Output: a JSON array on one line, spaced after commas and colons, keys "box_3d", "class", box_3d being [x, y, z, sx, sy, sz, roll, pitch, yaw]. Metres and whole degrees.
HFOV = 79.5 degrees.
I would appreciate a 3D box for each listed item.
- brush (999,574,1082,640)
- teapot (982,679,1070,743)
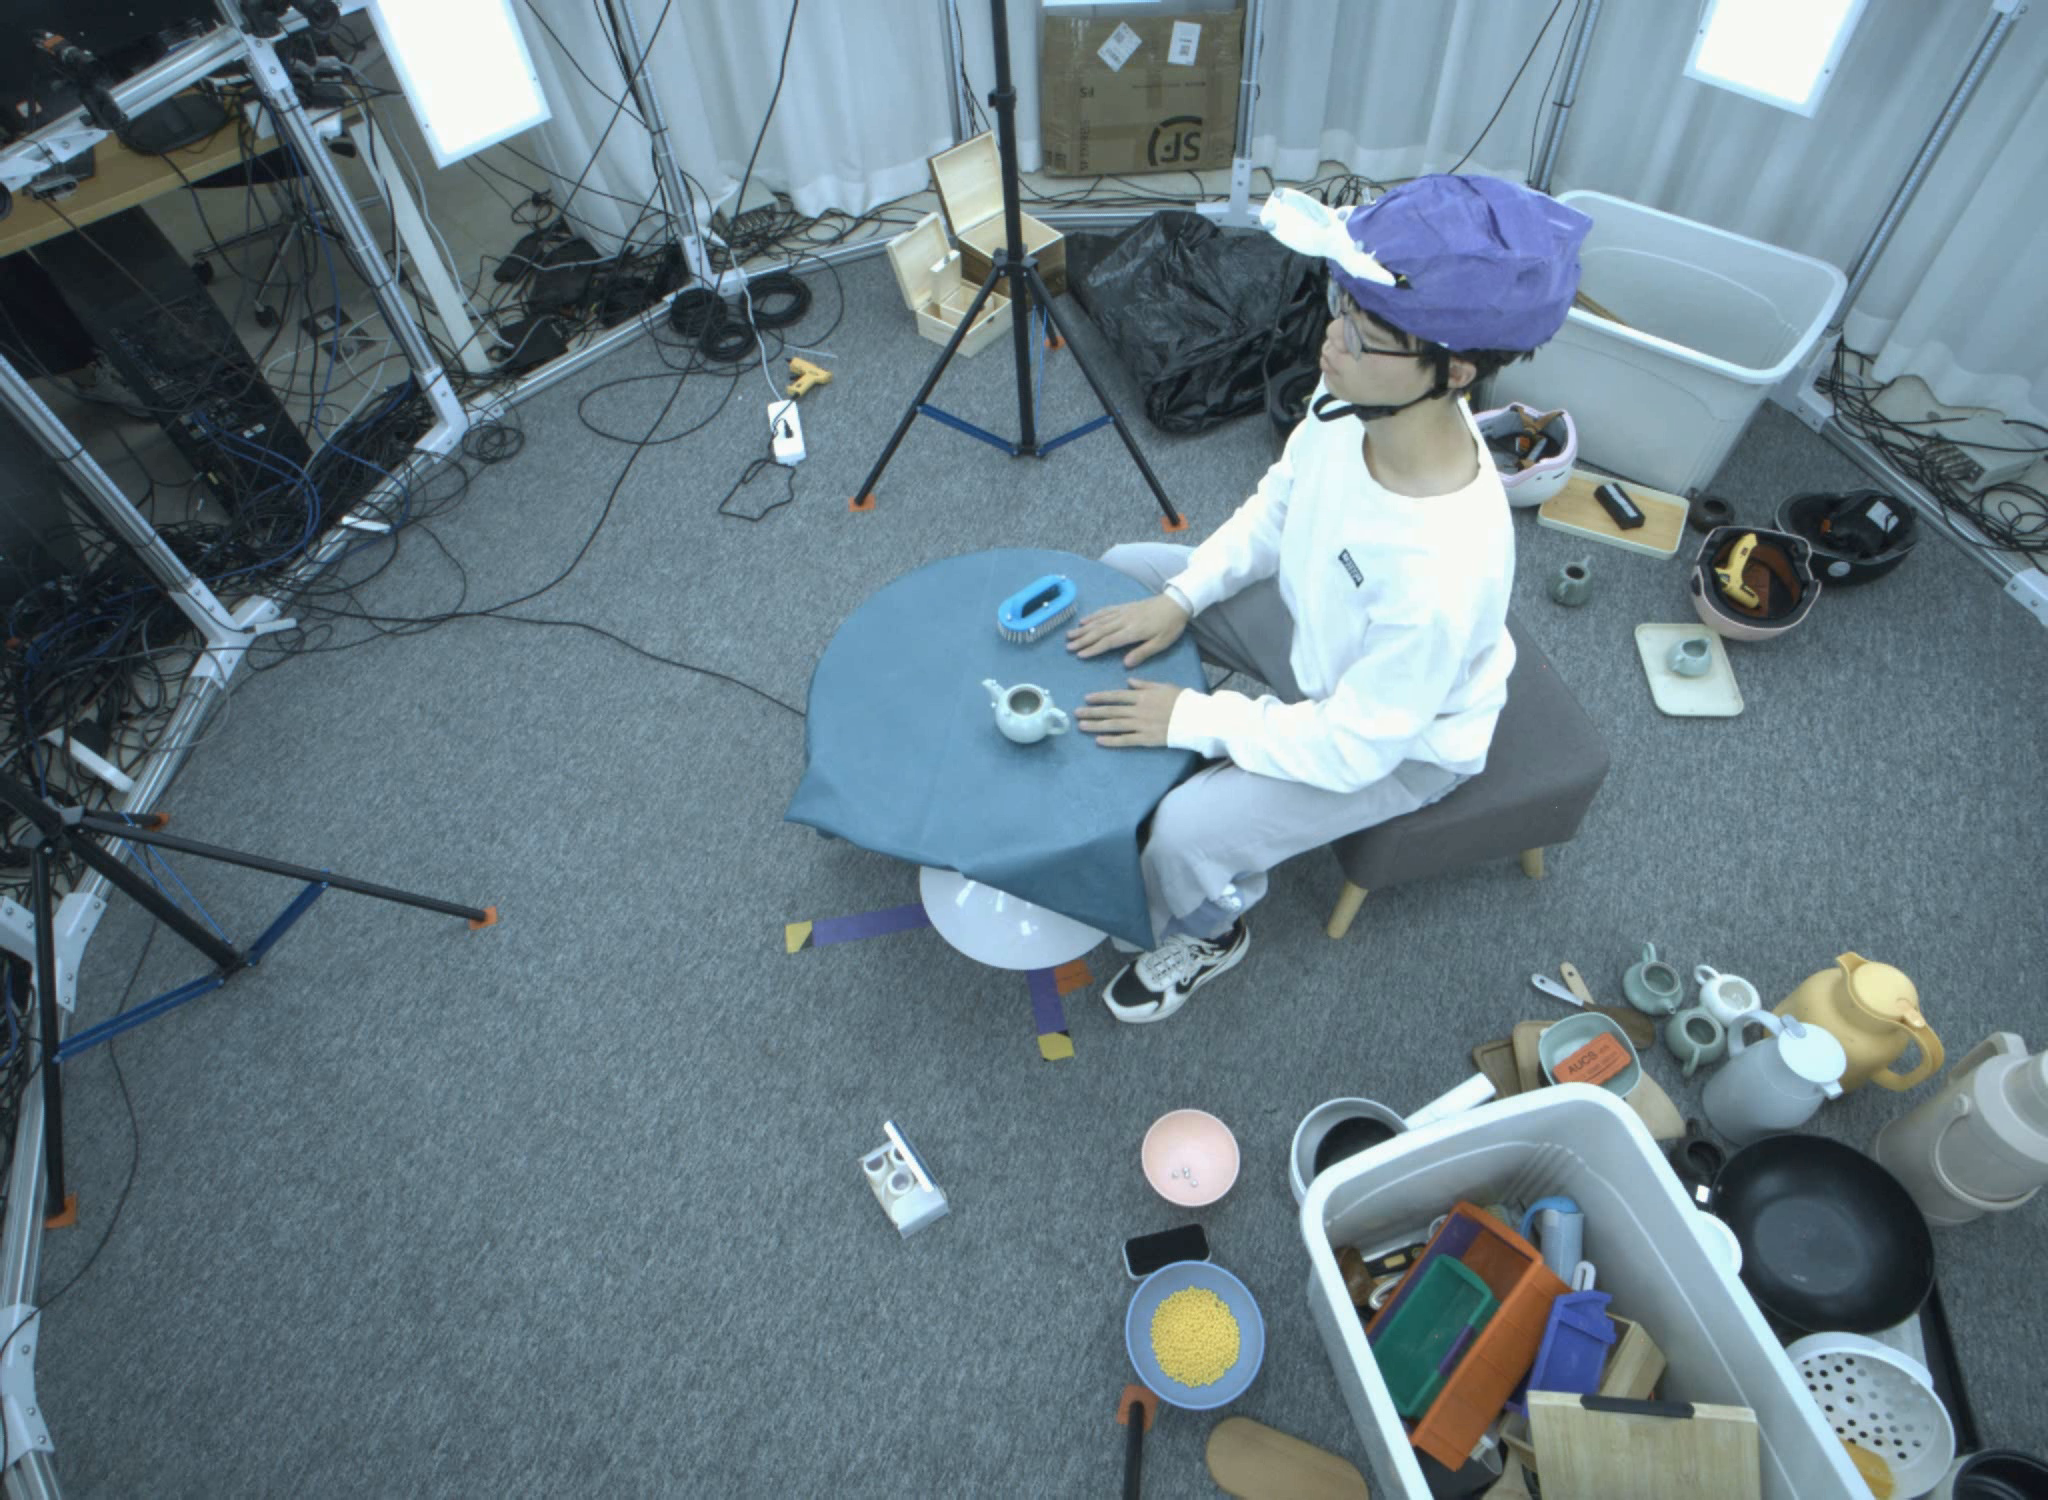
[{"box_3d": [0.022, -0.233, 1.911, 0.143, 0.064, 0.082, -33, 54, -21], "class": "brush"}, {"box_3d": [0.003, -0.054, 1.779, 0.141, 0.075, 0.088, 25, 57, 22], "class": "teapot"}]
